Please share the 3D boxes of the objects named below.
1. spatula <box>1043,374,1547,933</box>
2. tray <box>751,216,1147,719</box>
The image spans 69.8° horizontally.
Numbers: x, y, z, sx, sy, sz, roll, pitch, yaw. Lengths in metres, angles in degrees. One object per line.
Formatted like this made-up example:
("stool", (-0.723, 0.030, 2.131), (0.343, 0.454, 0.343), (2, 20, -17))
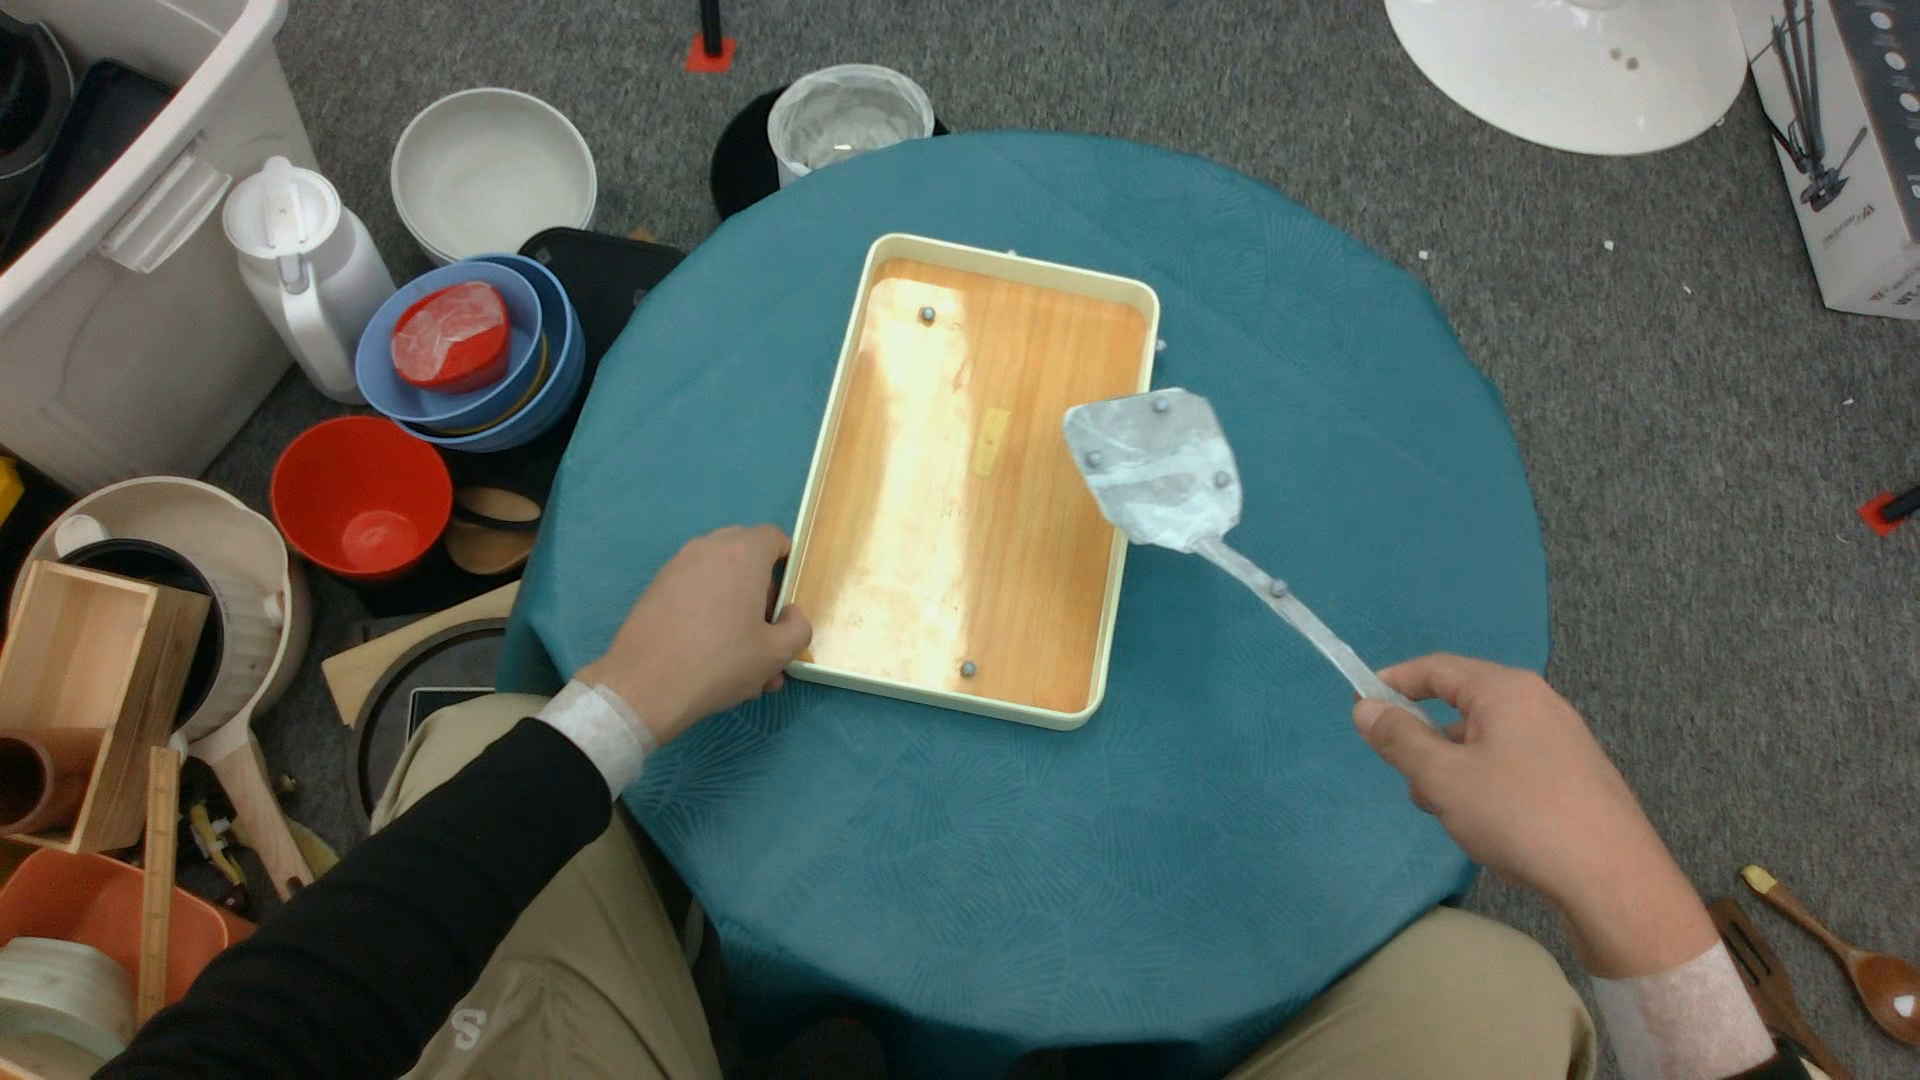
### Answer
("spatula", (0.158, 0.031, 0.657), (0.099, 0.044, 0.365), (-11, 40, -26))
("tray", (0.000, -0.052, 0.826), (0.191, 0.027, 0.301), (12, 65, -1))
